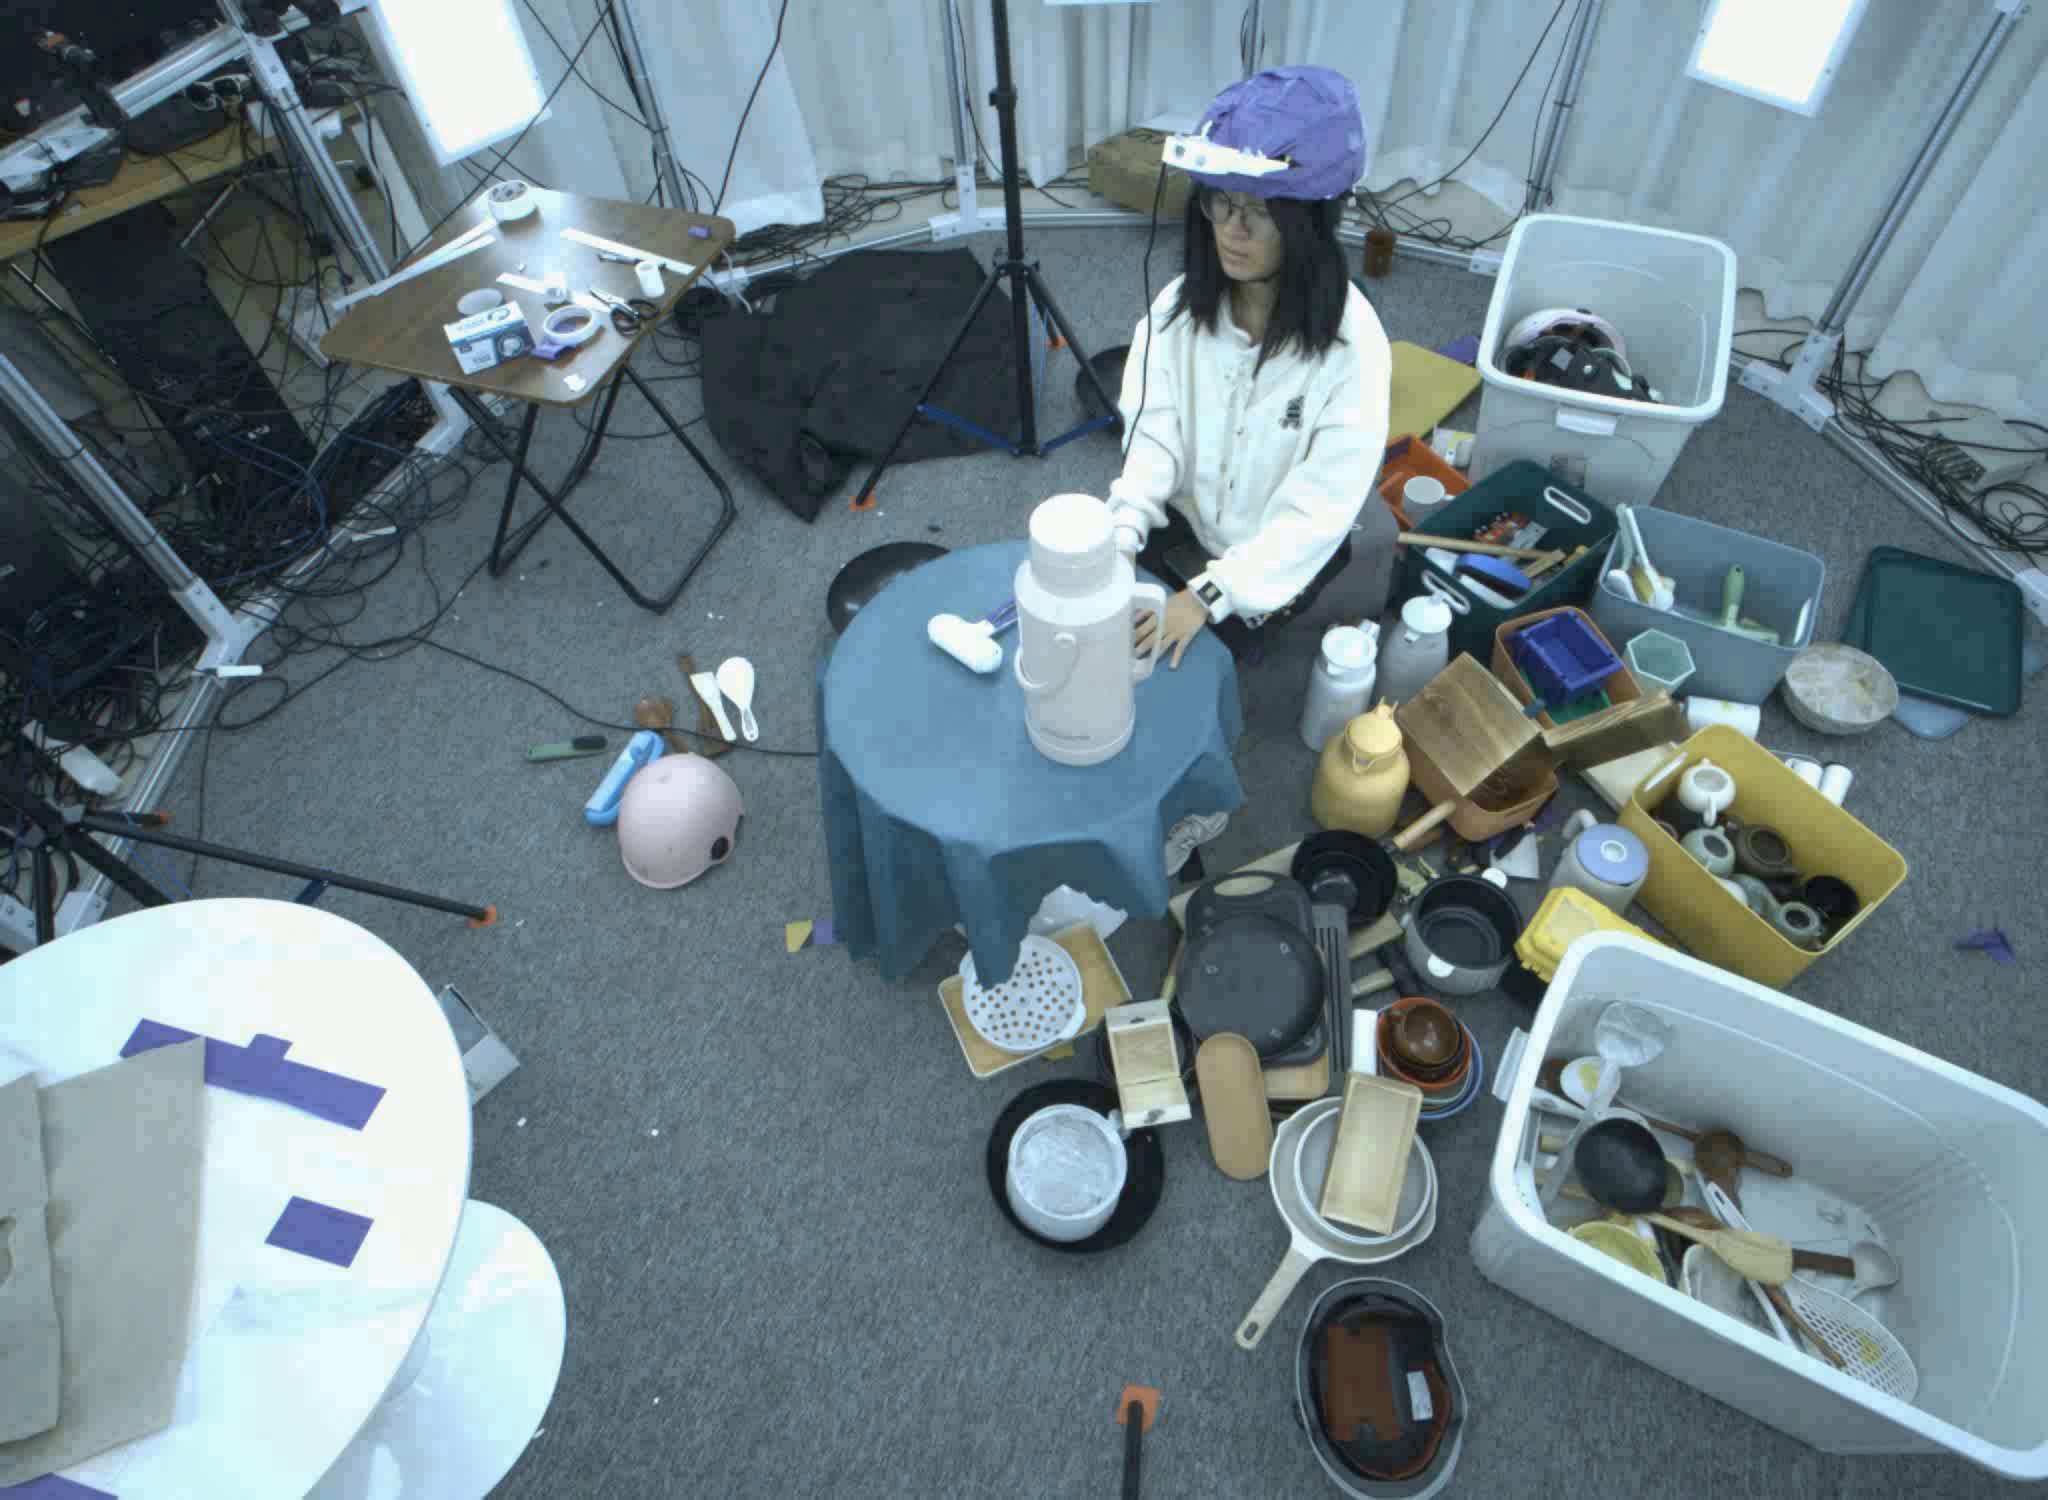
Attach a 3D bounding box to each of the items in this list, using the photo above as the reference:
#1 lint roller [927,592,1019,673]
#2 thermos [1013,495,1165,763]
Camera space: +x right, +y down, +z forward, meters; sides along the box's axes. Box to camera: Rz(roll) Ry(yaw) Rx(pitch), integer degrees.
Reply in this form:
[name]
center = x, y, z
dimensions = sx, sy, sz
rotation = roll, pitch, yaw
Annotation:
[lint roller]
center = -0.048, -0.201, 1.902
dimensions = 0.130, 0.051, 0.182
rotation = 37, 67, 26
[thermos]
center = 0.083, -0.156, 1.651
dimensions = 0.206, 0.411, 0.174
rotation = 6, 55, 7
